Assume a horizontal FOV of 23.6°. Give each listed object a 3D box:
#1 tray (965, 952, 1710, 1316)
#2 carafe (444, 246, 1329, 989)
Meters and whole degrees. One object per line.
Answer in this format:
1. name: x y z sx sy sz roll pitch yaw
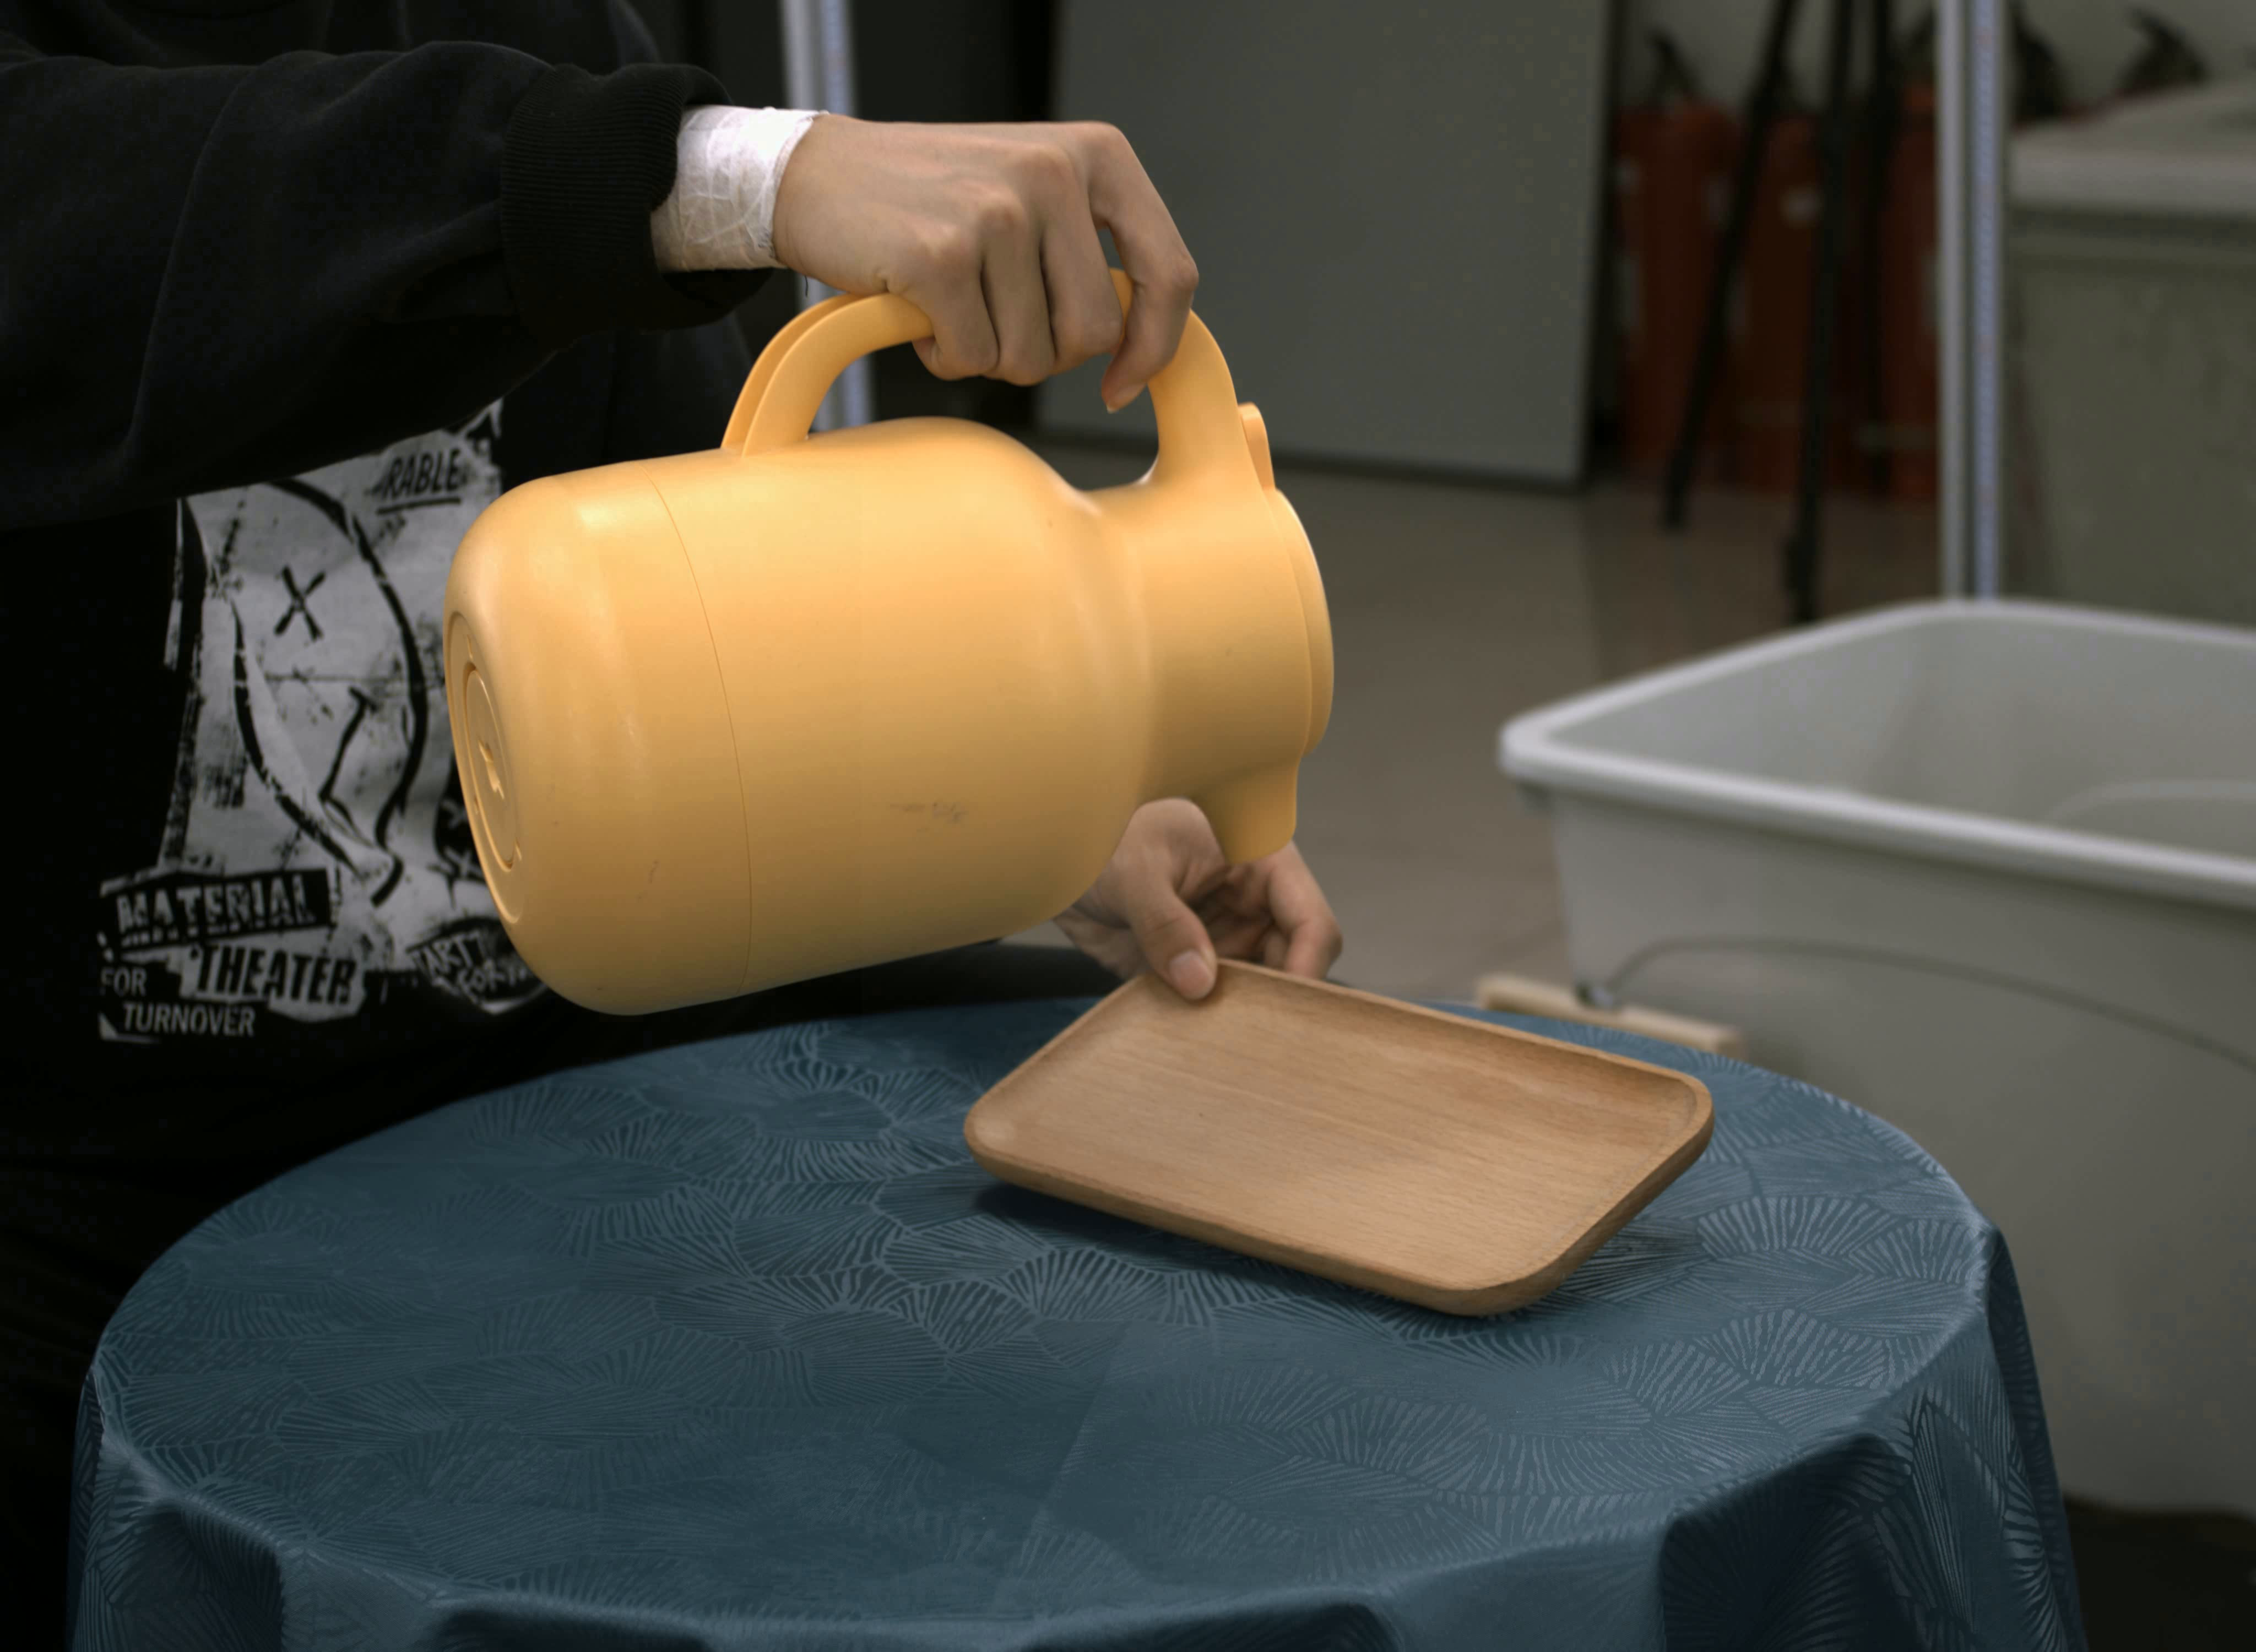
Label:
1. tray: 0.065 0.097 1.732 0.253 0.023 0.128 12 37 46
2. carafe: -0.072 -0.066 1.620 0.255 0.205 0.165 -8 7 -17
